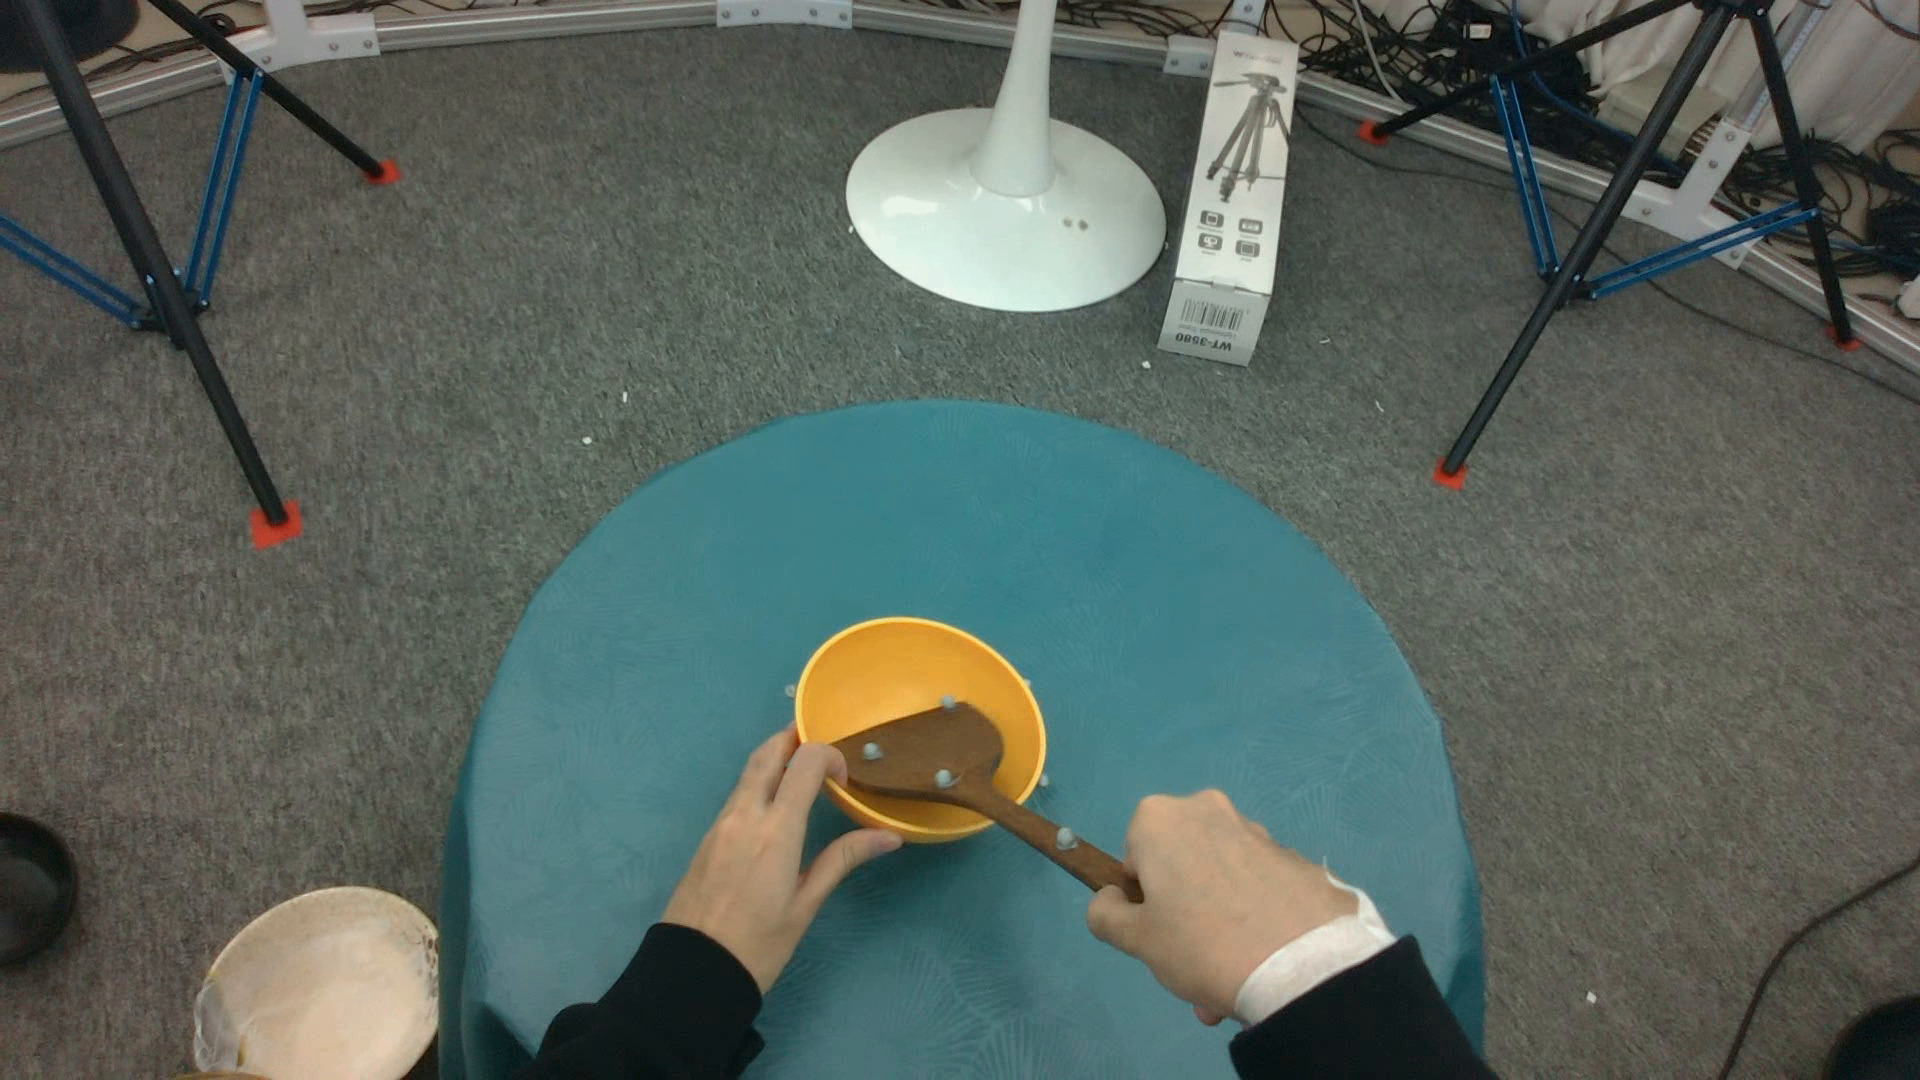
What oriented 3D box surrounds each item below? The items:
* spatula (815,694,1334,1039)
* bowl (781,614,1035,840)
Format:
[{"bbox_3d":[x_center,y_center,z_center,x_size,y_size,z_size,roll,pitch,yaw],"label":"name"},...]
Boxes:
[{"bbox_3d":[0.037,0.133,0.632,0.096,0.016,0.385,-15,14,-24],"label":"spatula"},{"bbox_3d":[-0.034,0.116,0.787,0.145,0.060,0.146,10,47,-10],"label":"bowl"}]
